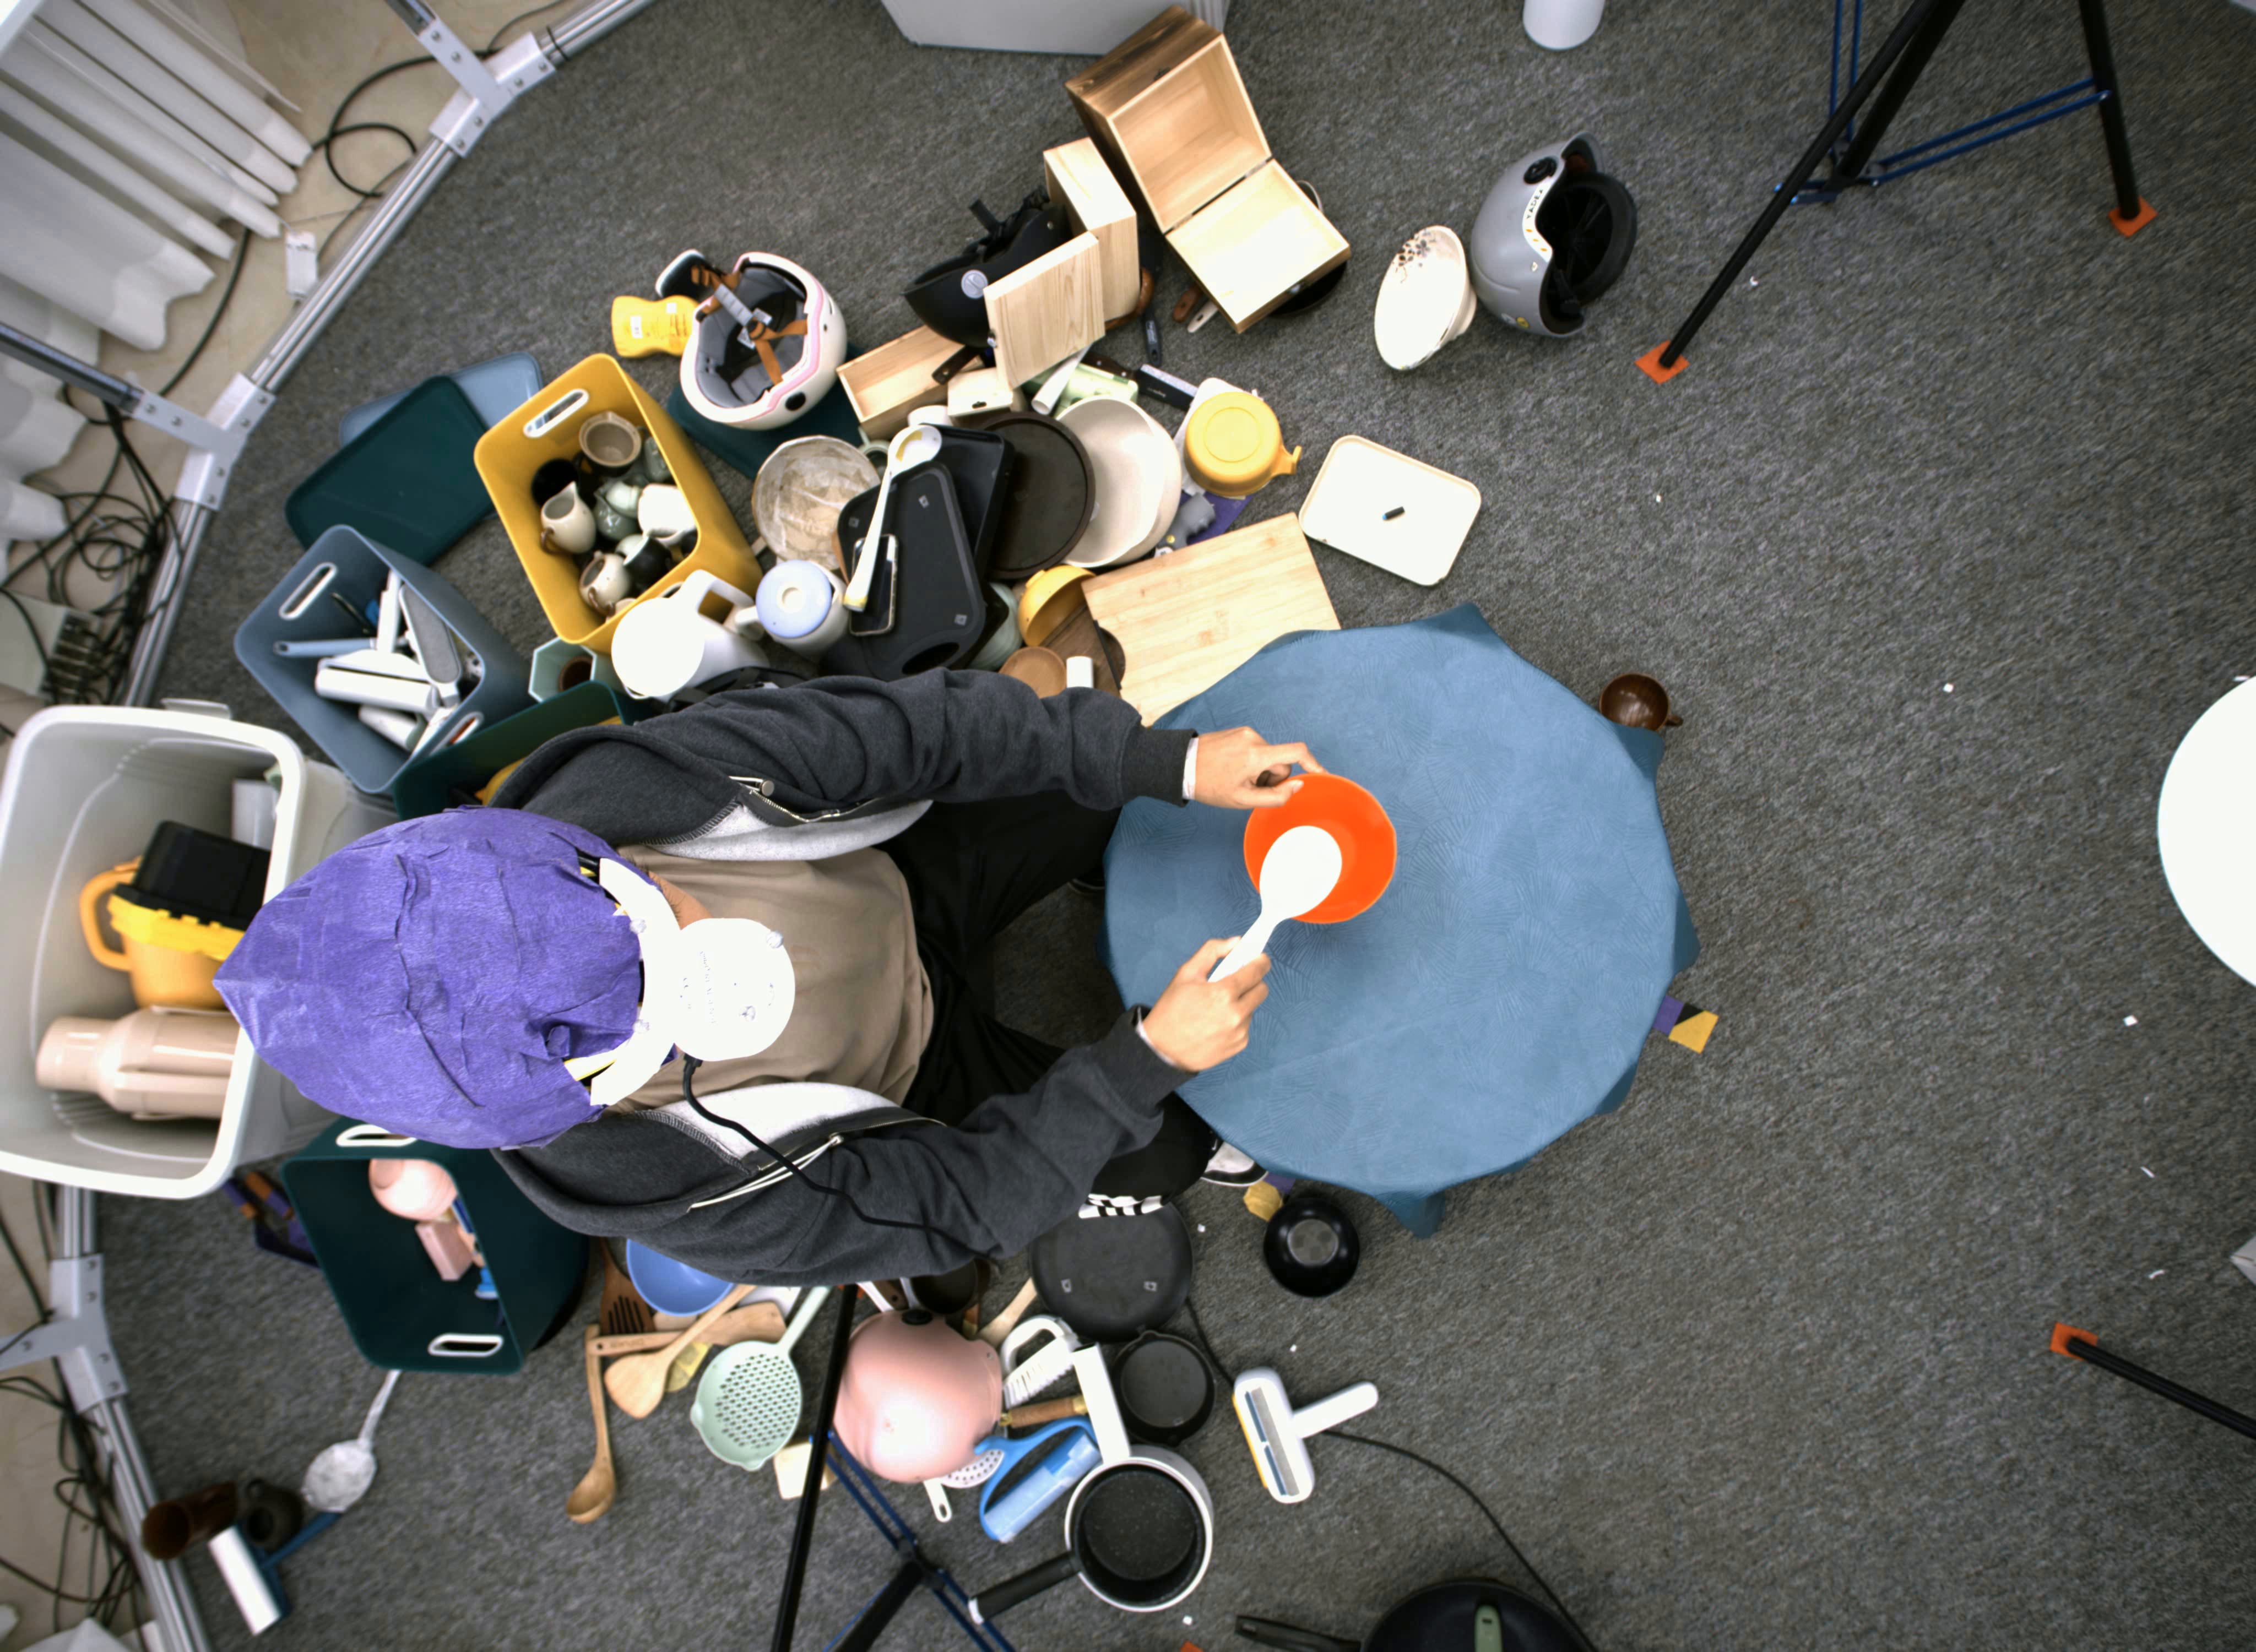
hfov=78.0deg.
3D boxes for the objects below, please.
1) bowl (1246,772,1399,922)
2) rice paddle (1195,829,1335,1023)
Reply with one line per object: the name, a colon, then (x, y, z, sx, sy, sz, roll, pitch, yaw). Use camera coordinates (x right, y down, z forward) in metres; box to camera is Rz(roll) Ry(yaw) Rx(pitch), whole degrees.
bowl: (0.196, 0.018, 1.368, 0.148, 0.103, 0.149, 2, 97, 14)
rice paddle: (0.126, 0.087, 1.276, 0.069, 0.030, 0.202, 32, 75, 3)
